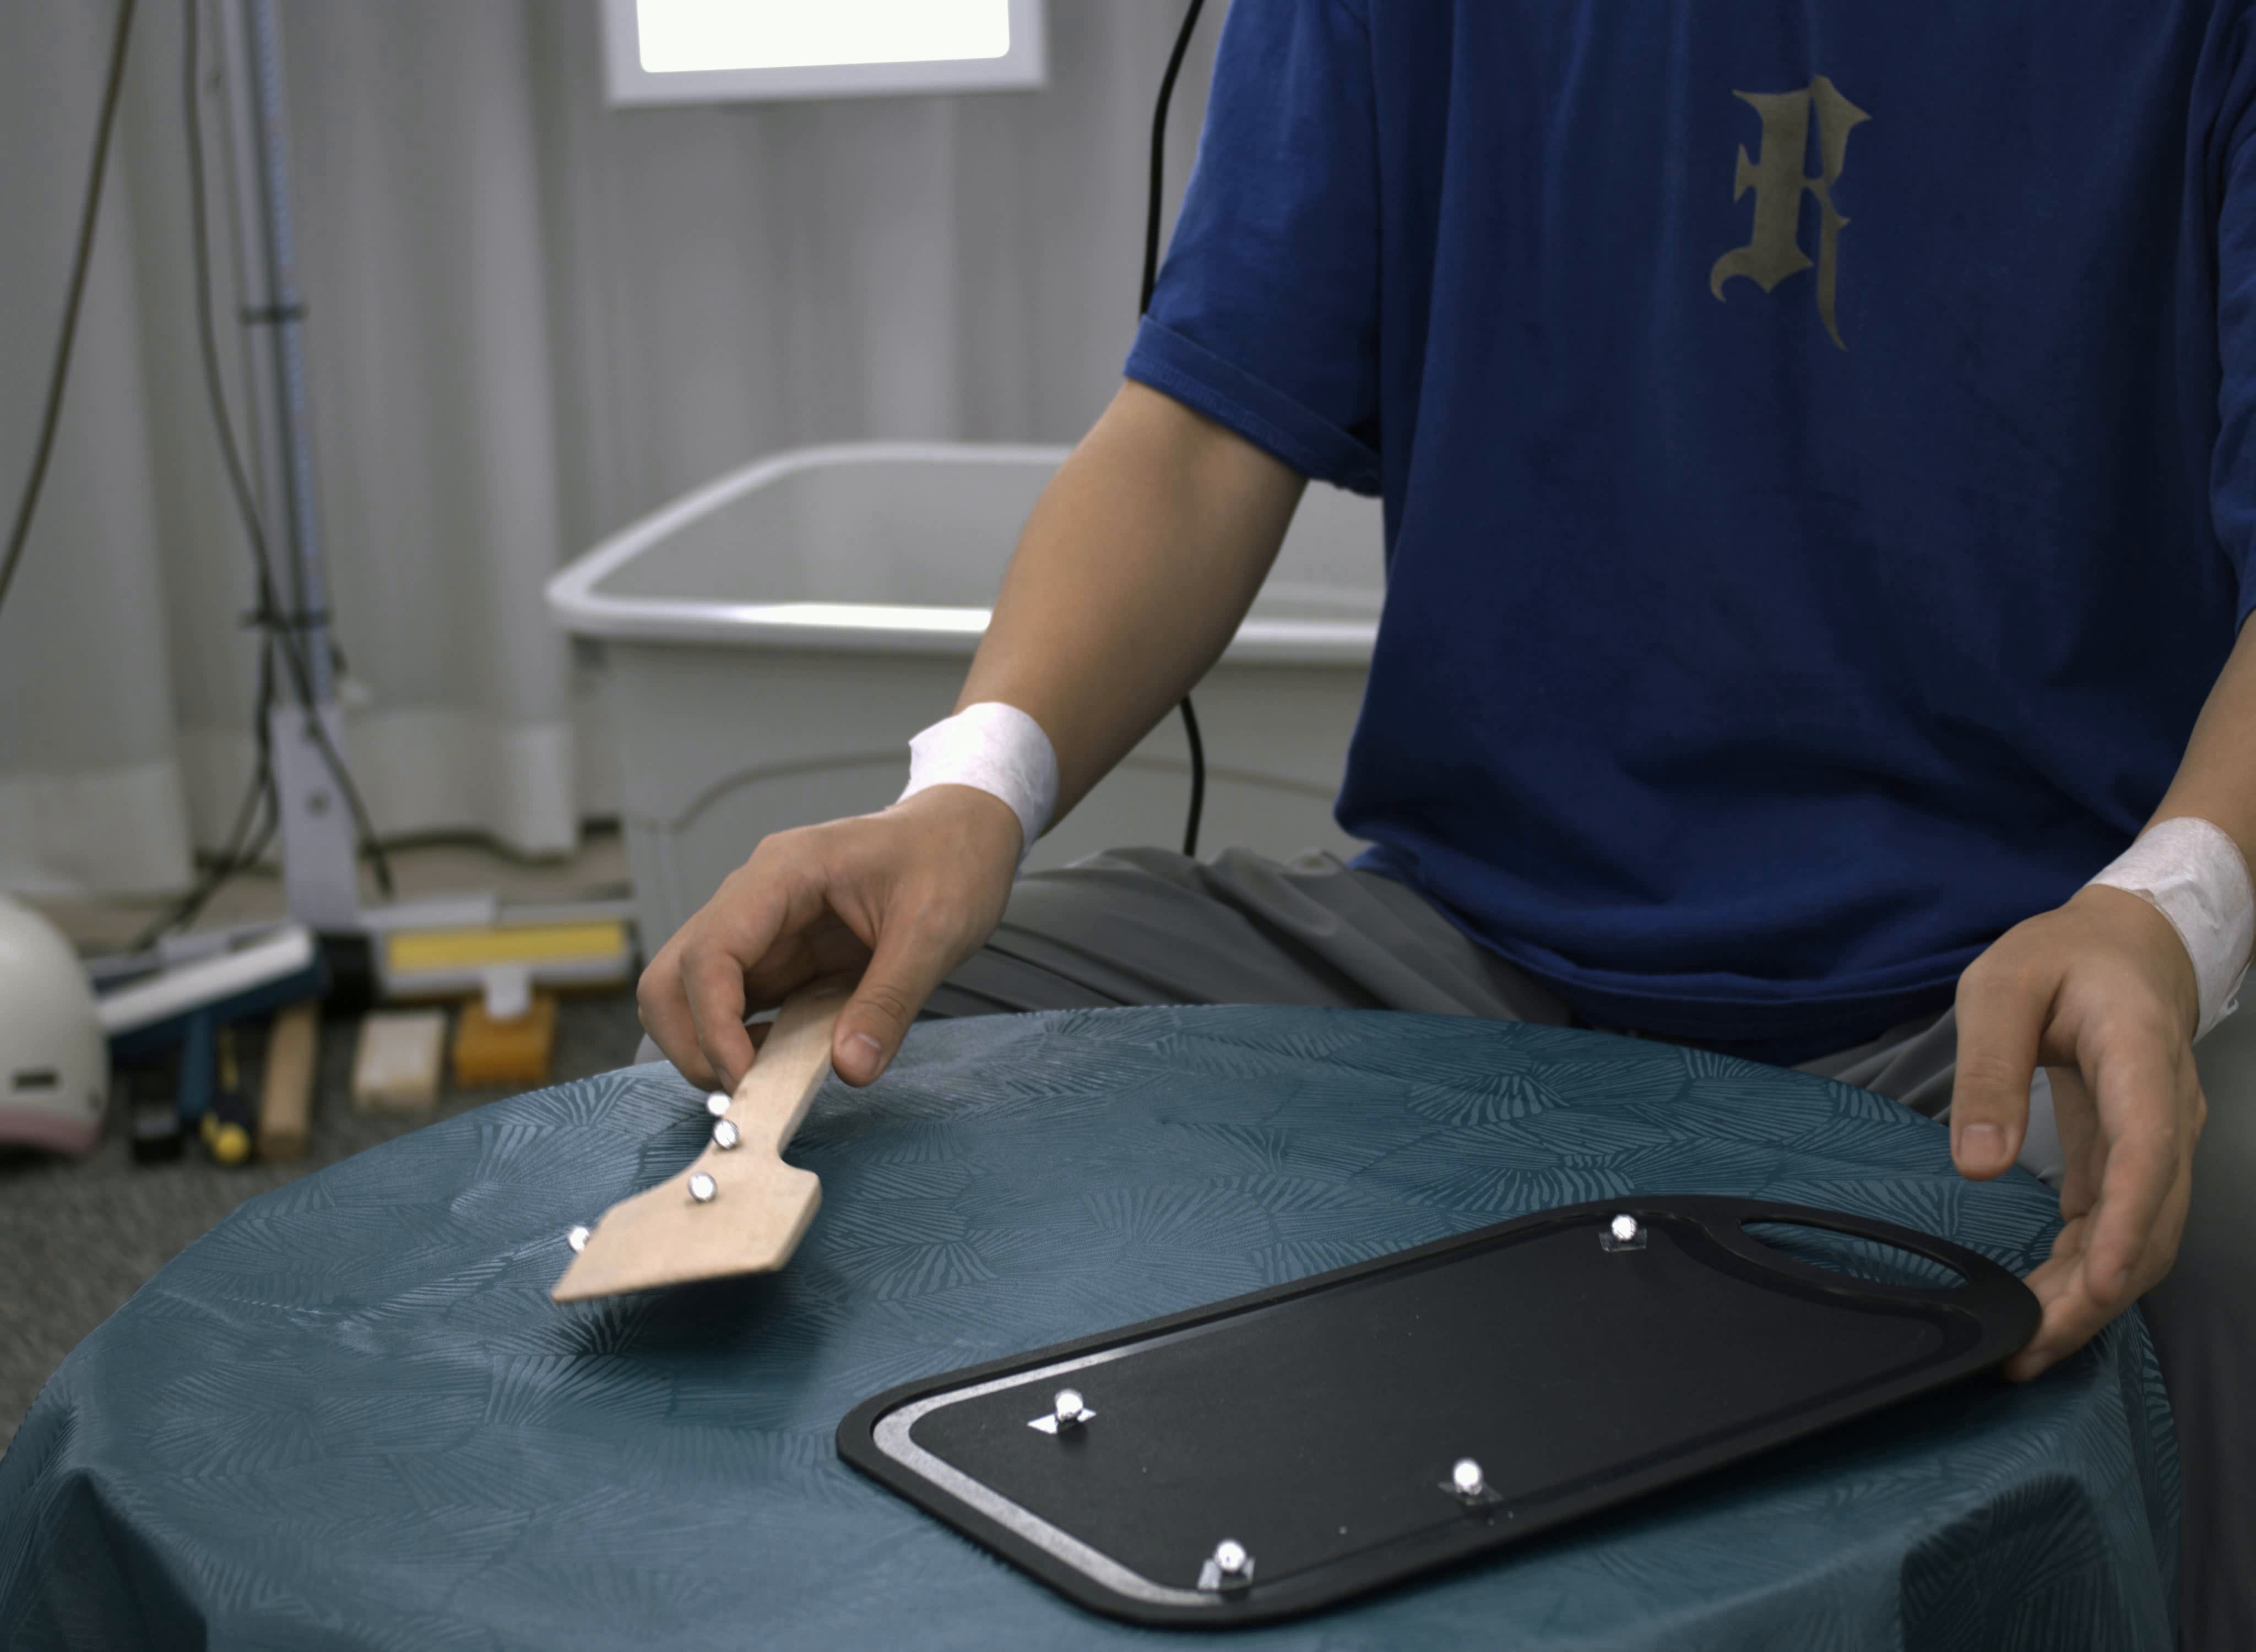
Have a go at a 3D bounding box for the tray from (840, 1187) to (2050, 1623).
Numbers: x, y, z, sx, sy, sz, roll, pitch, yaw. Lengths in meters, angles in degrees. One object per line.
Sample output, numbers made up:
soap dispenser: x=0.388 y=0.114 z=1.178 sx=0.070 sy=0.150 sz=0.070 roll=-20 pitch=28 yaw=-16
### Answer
tray: x=0.094 y=0.152 z=1.518 sx=0.324 sy=0.010 sz=0.212 roll=-13 pitch=17 yaw=-28

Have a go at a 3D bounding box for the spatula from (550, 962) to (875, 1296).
spatula: x=-0.118 y=0.092 z=1.720 sx=0.072 sy=0.010 sz=0.295 roll=-10 pitch=15 yaw=10
